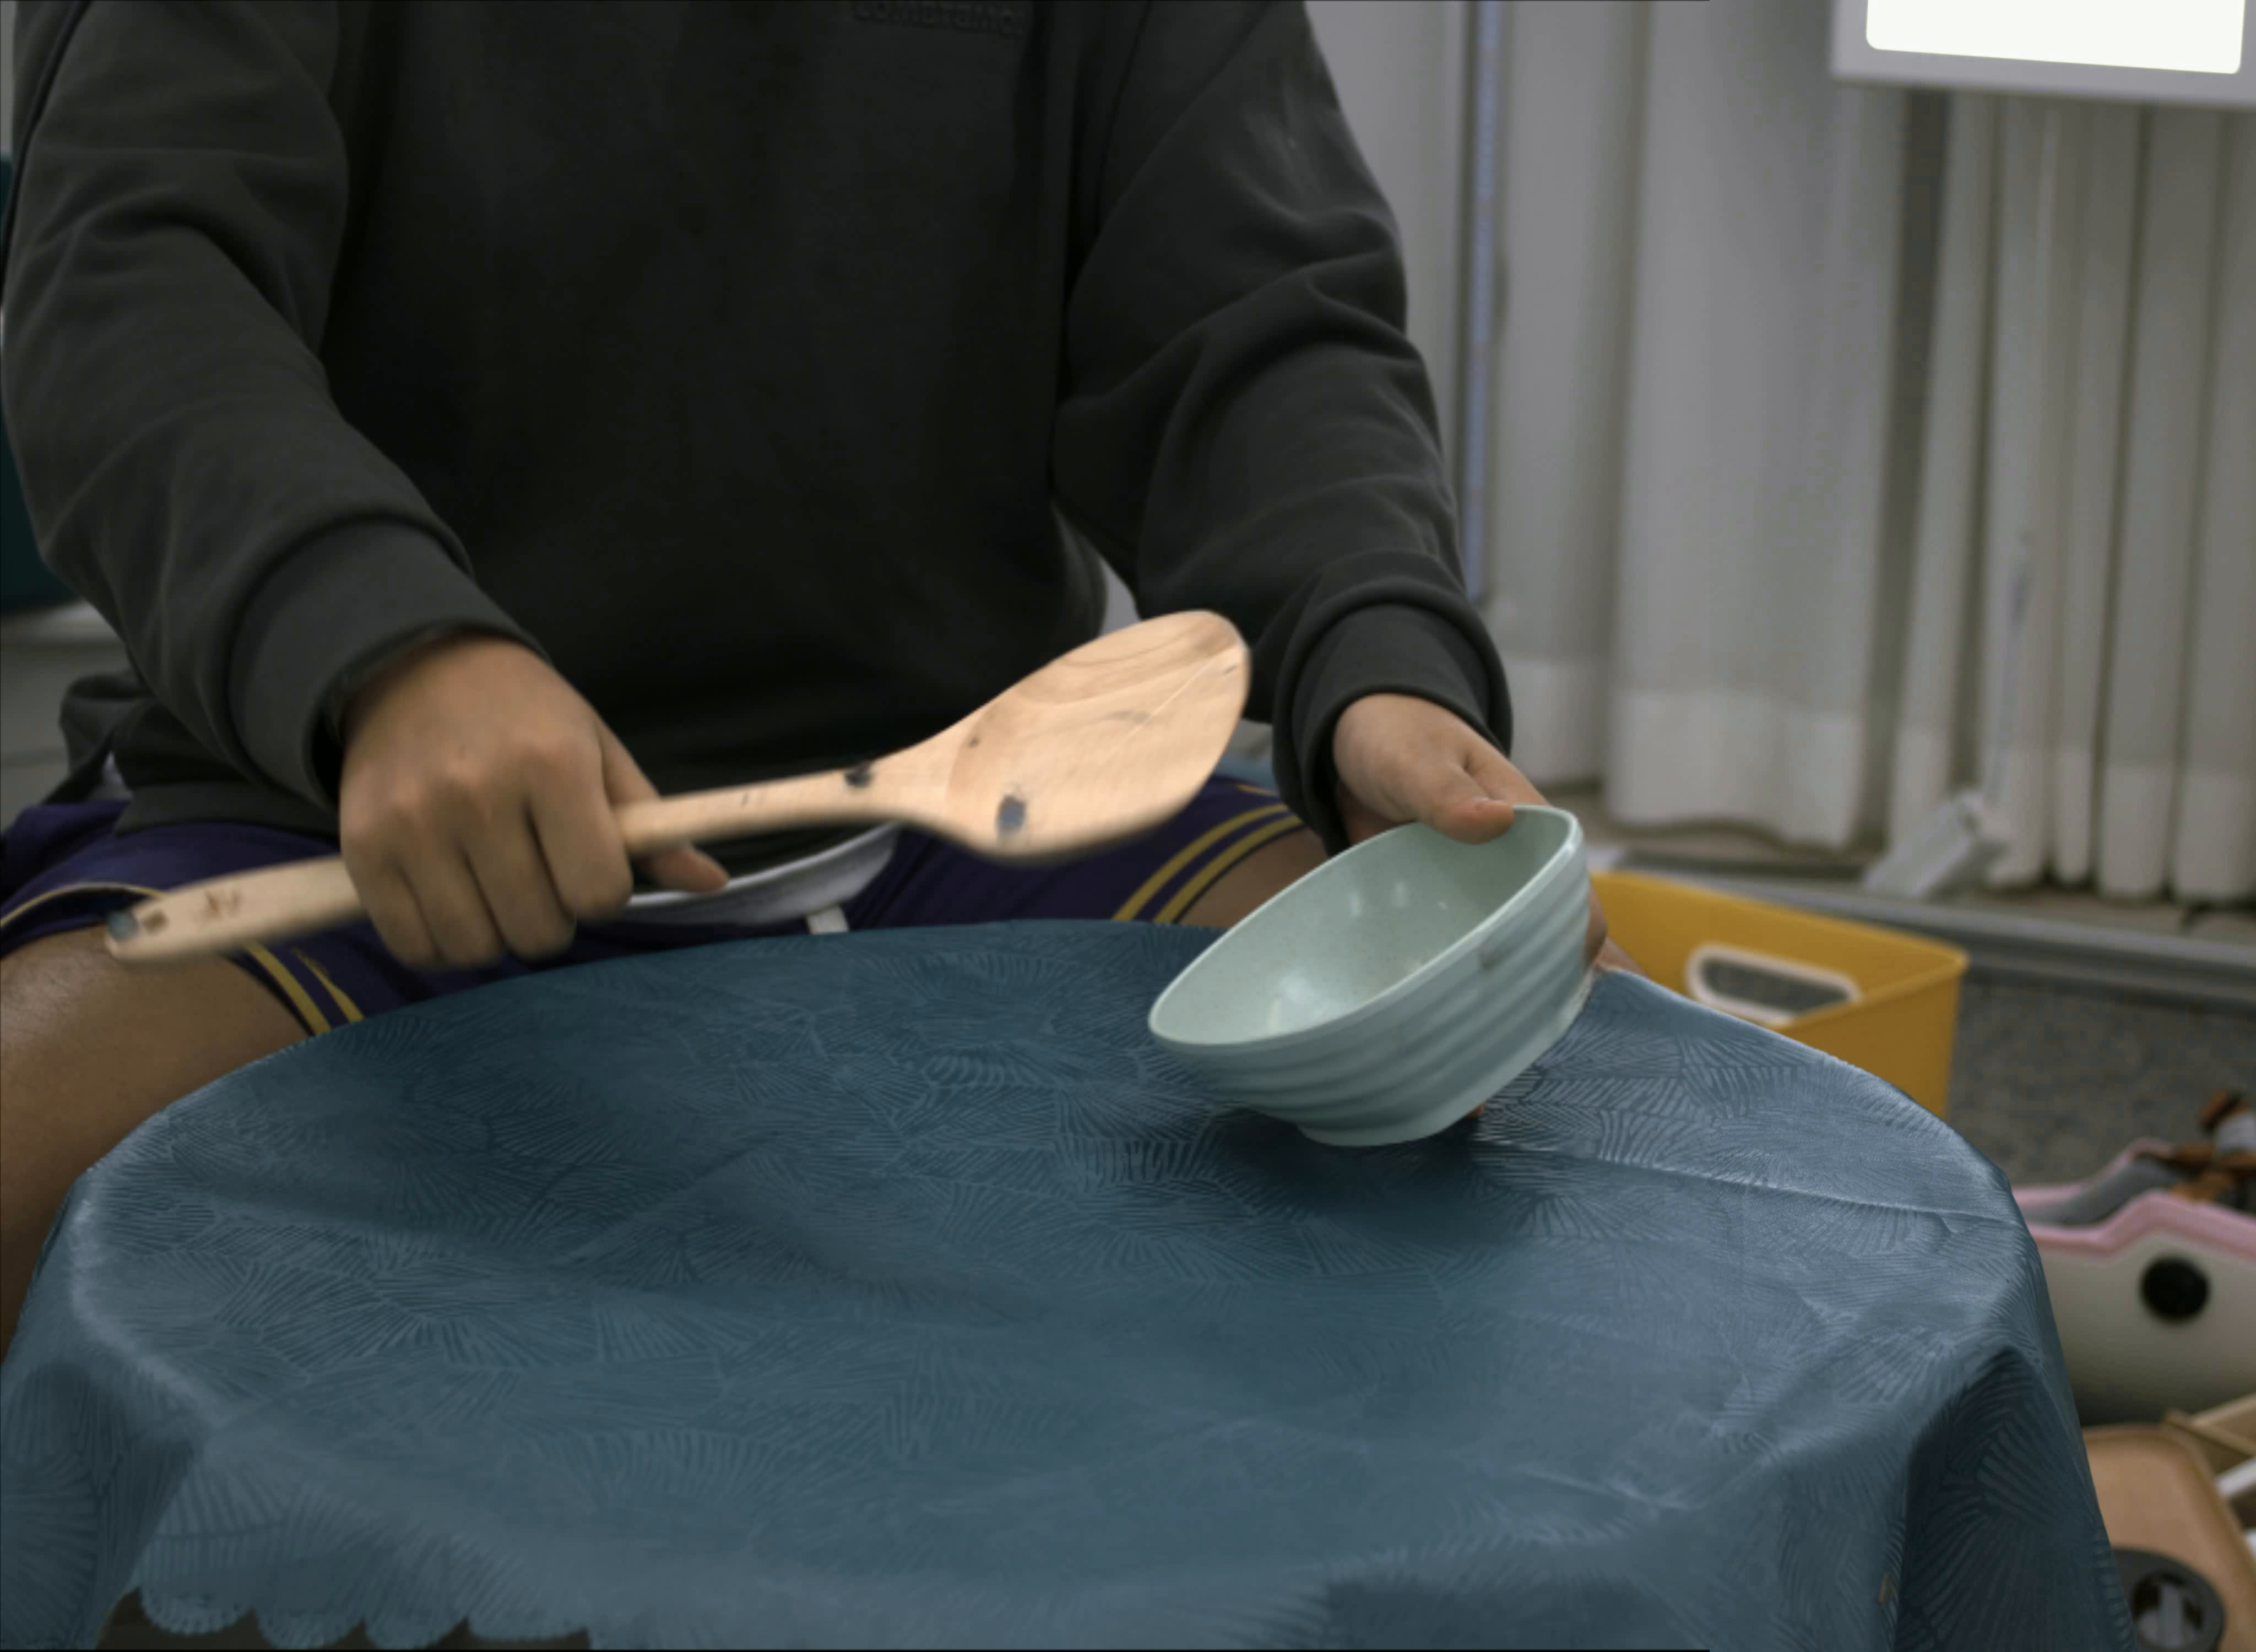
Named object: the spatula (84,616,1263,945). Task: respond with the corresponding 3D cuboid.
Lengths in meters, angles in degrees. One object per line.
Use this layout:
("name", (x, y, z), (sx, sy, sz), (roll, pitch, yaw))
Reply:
("spatula", (-0.142, -0.003, 1.552), (0.388, 0.019, 0.095), (-10, 29, 19))

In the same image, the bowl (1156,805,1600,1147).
("bowl", (0.088, 0.054, 1.659), (0.151, 0.059, 0.150), (-25, 18, 9))
